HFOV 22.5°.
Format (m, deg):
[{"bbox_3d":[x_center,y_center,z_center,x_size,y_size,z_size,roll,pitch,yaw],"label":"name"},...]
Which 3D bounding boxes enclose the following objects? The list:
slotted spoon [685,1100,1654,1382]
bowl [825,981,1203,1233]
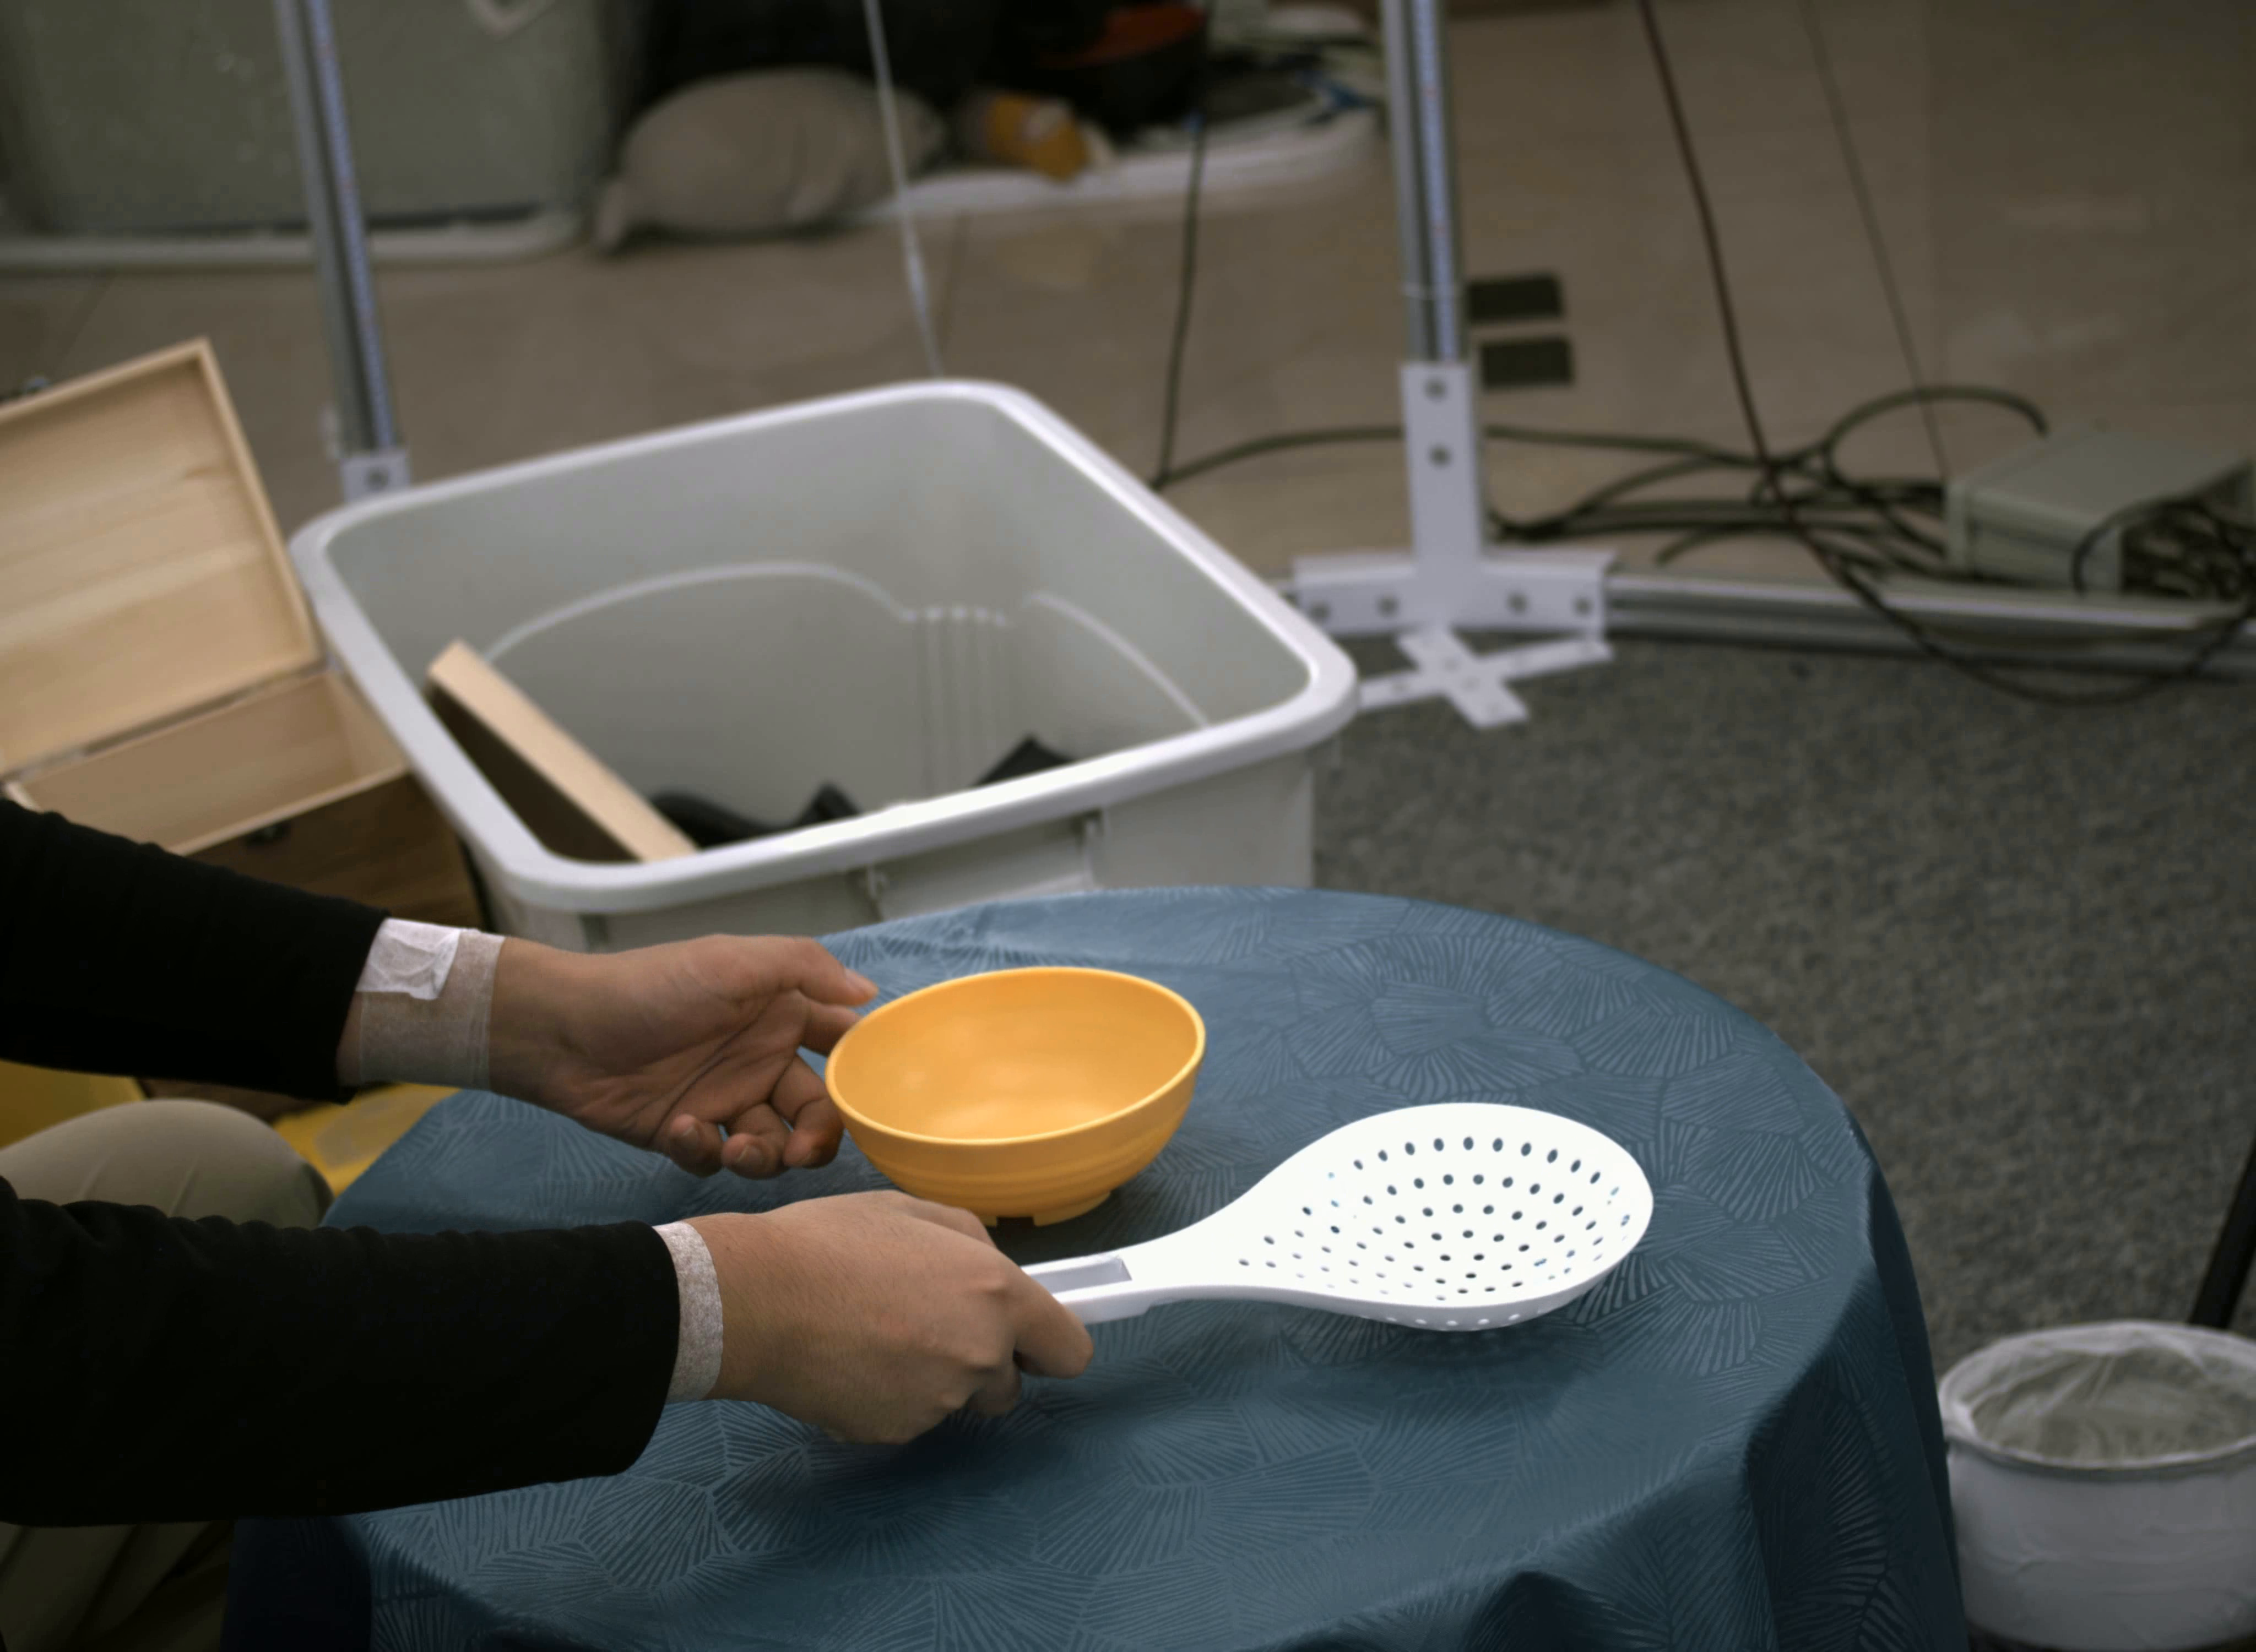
[{"bbox_3d":[0.016,0.157,2.012,0.349,0.046,0.134,-5,29,-14],"label":"slotted spoon"},{"bbox_3d":[-0.040,0.113,2.146,0.145,0.061,0.143,-5,23,2],"label":"bowl"}]
